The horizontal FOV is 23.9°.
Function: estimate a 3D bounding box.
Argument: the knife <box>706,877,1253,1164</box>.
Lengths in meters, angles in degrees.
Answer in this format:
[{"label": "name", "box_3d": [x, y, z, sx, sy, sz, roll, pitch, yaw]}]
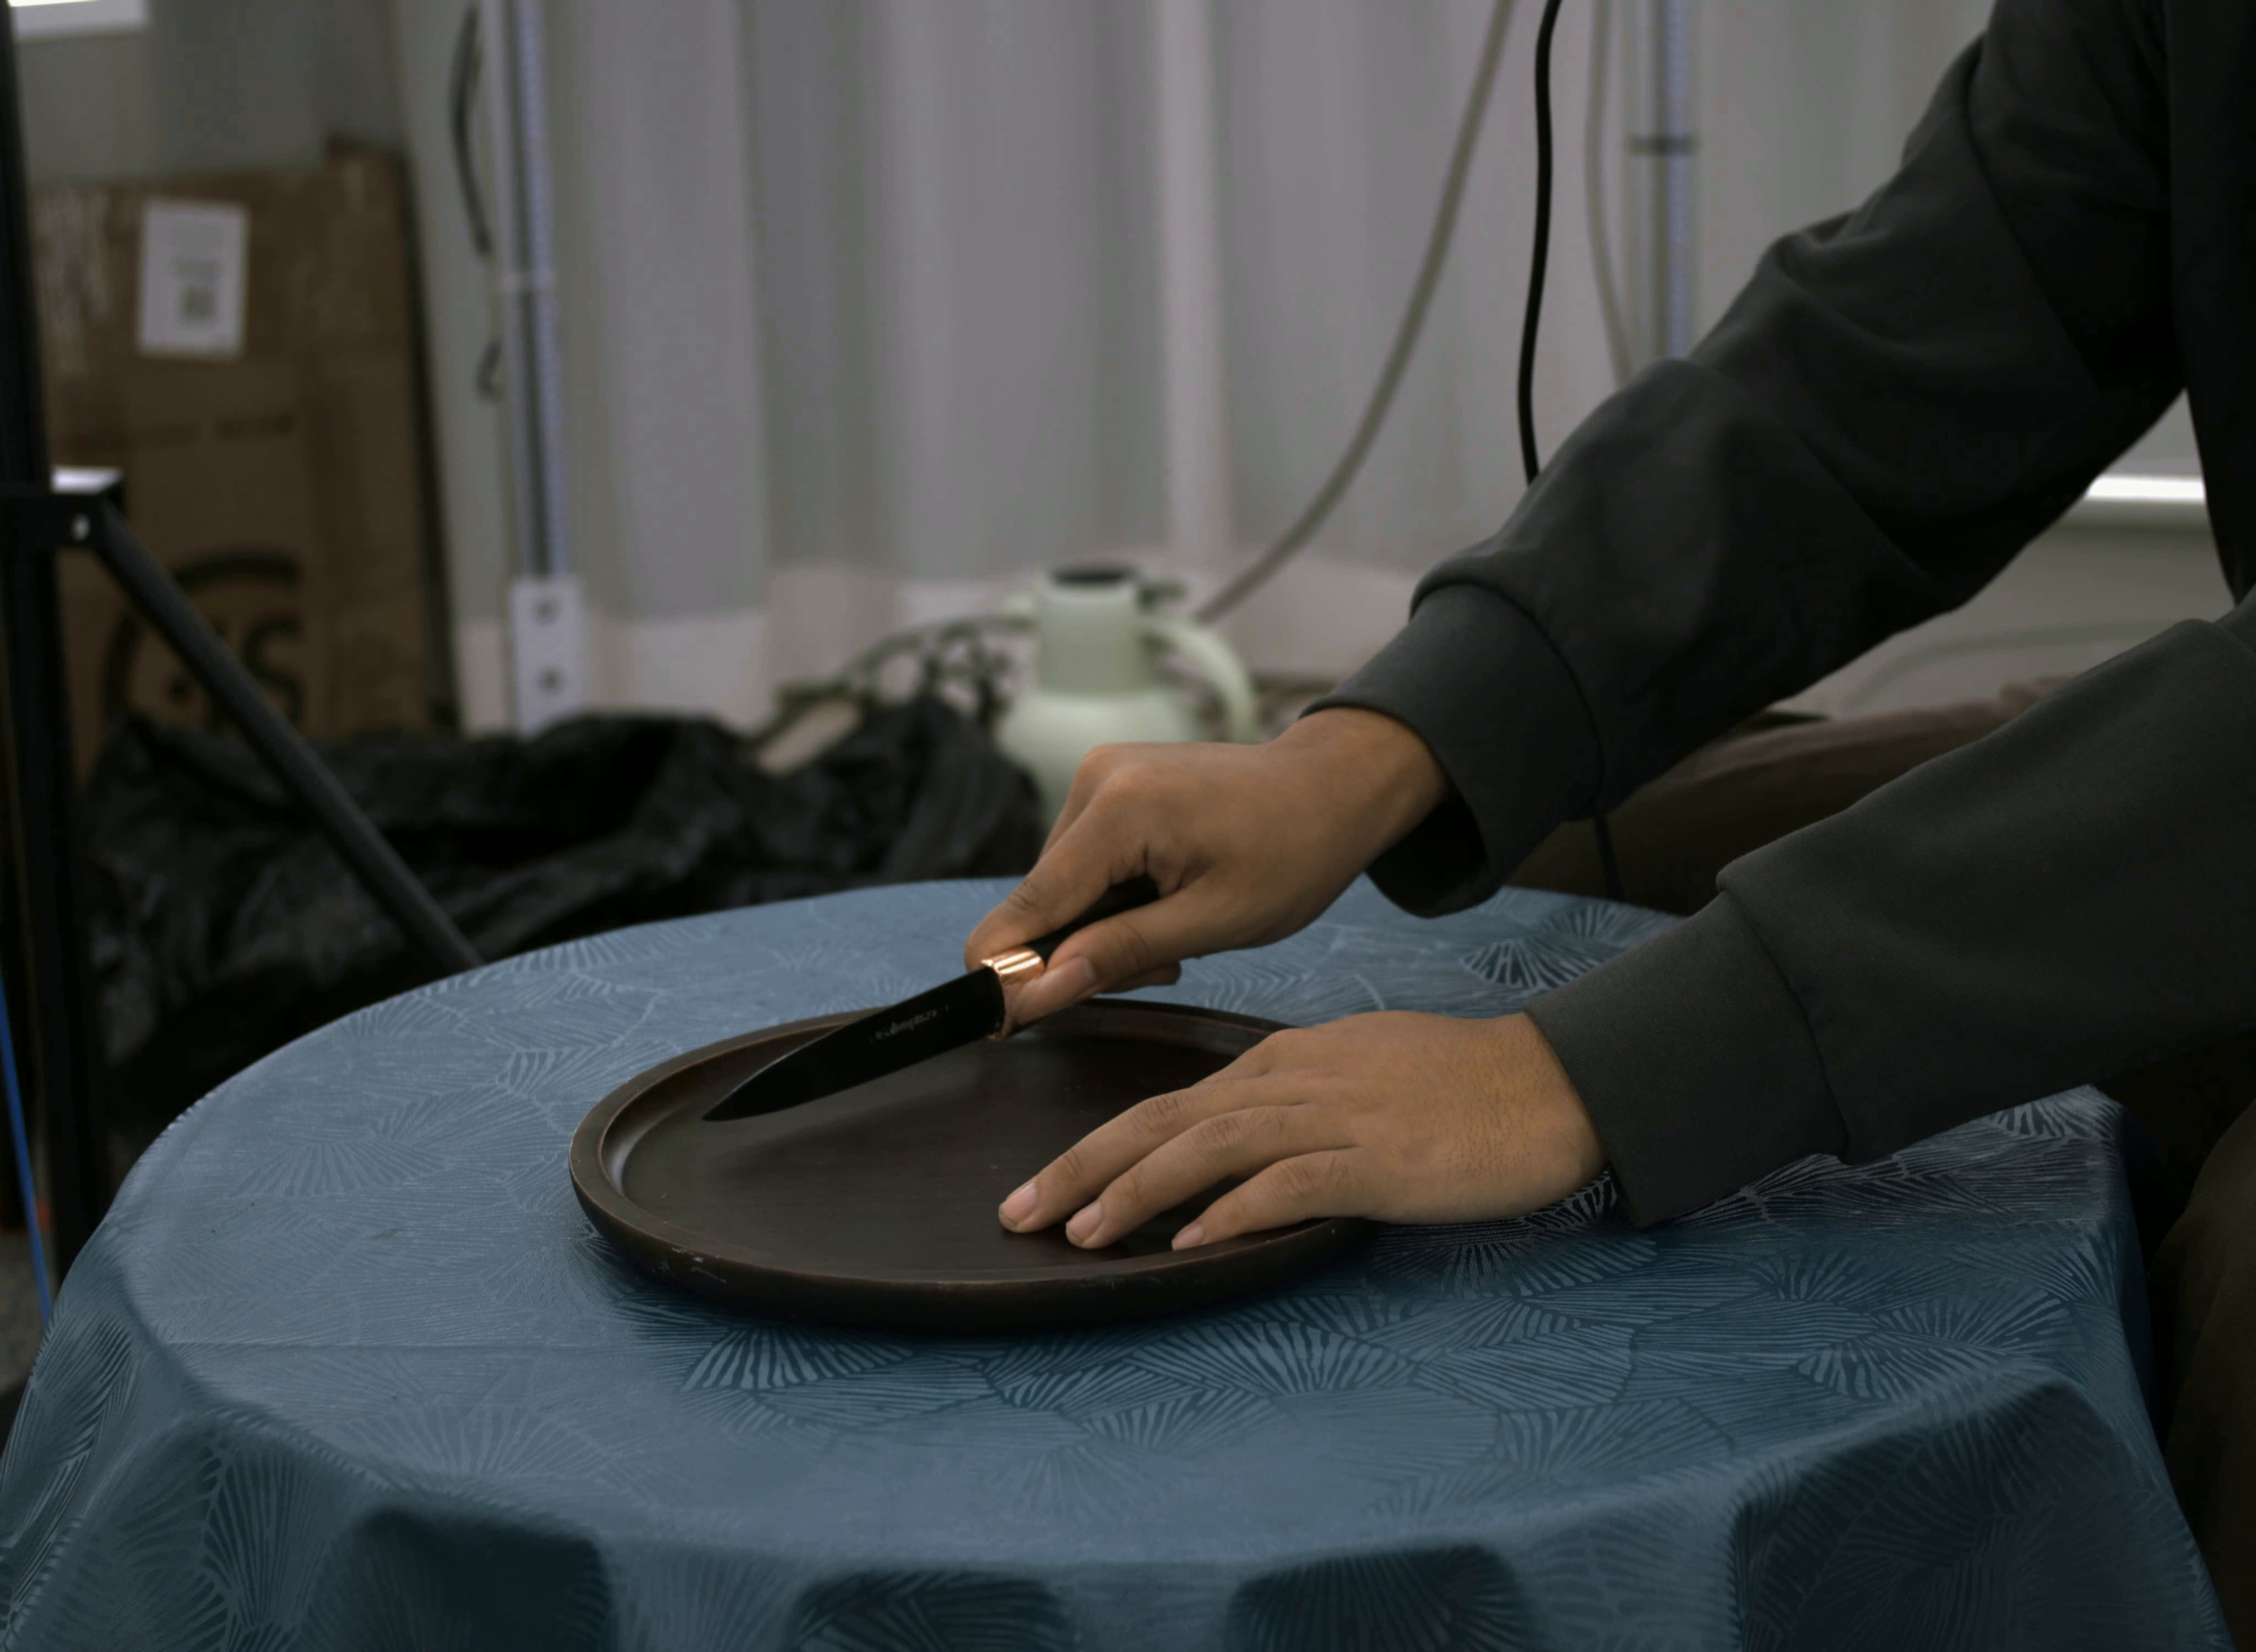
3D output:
[{"label": "knife", "box_3d": [-0.043, 0.058, 1.631, 0.221, 0.026, 0.017, -23, 21, -37]}]

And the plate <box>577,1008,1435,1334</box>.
[{"label": "plate", "box_3d": [-0.035, 0.098, 1.555, 0.253, 0.029, 0.256, -2, 14, -1]}]
